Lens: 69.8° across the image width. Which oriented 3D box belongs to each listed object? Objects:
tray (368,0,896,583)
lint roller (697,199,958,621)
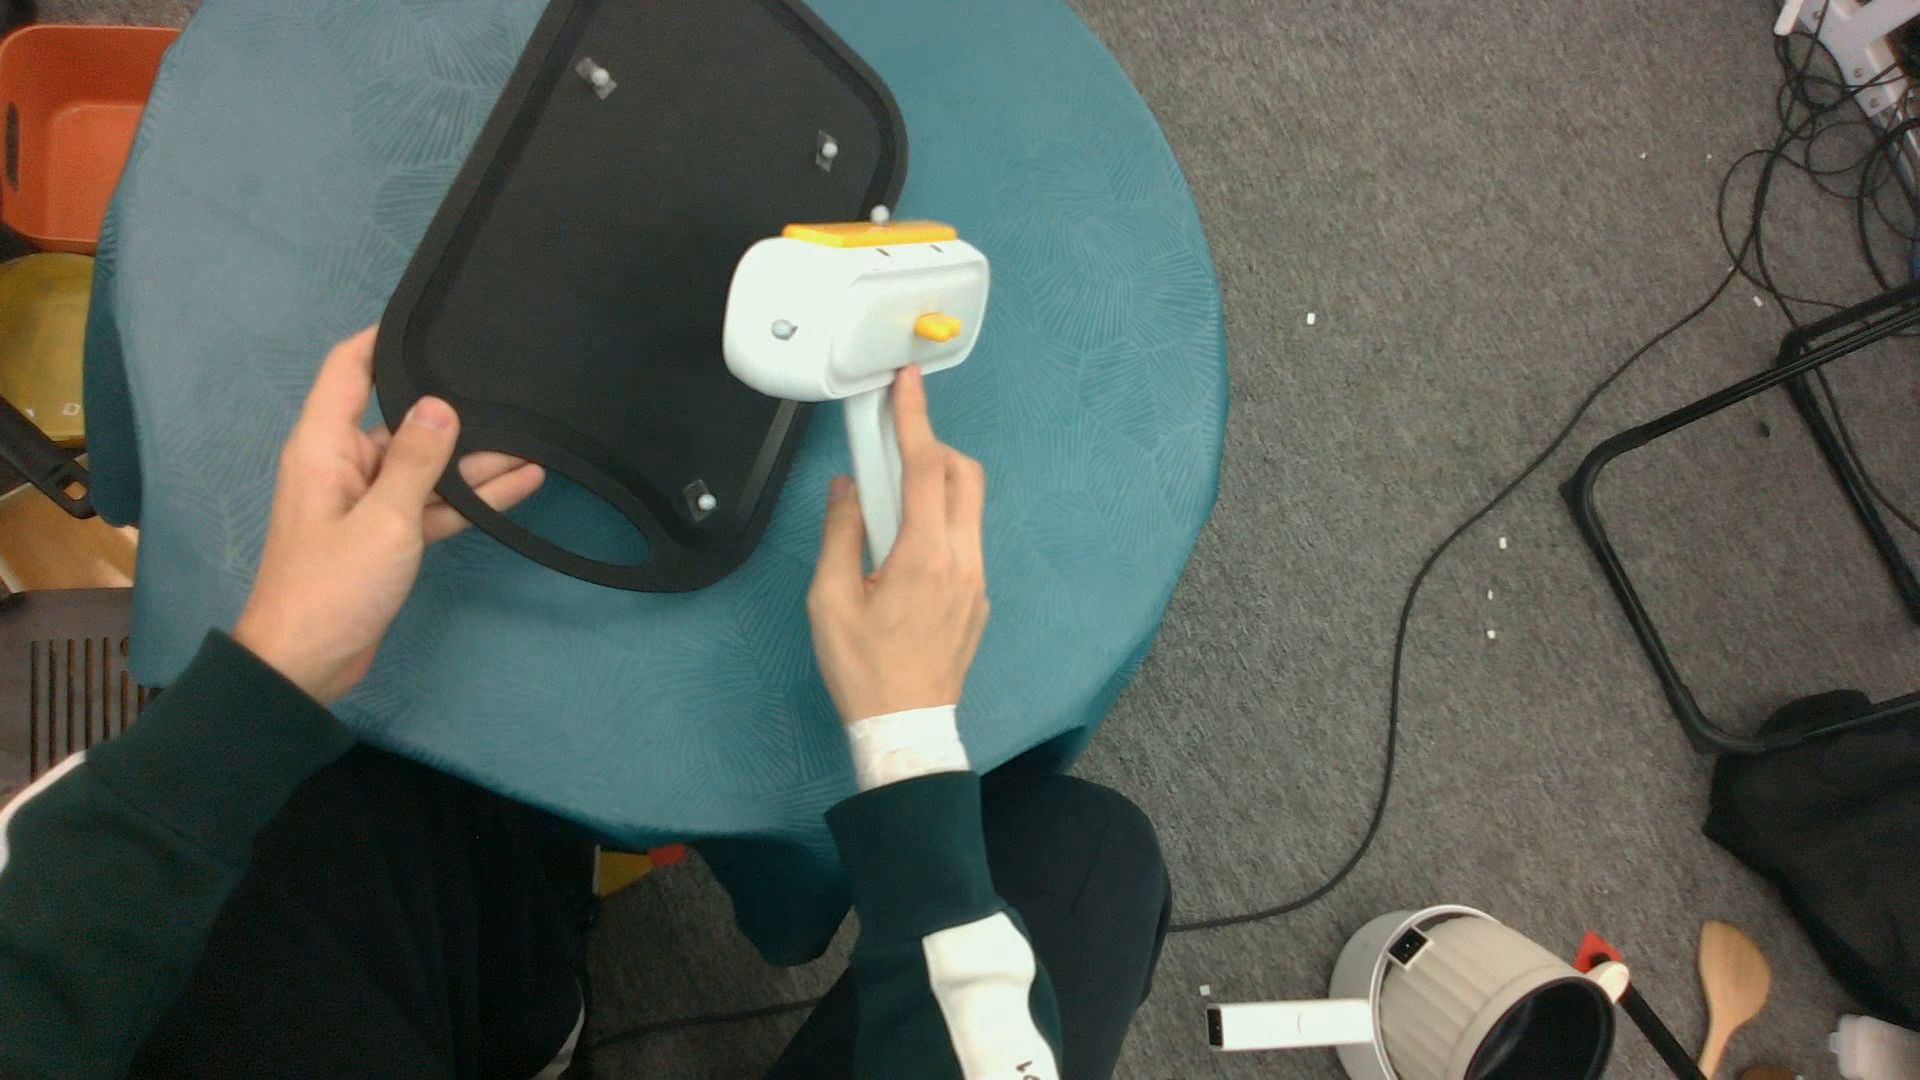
[{"bbox_3d":[-0.140,-0.142,0.657,0.211,0.010,0.326,33,68,-41],"label":"tray"},{"bbox_3d":[-0.049,-0.056,0.639,0.074,0.193,0.192,6,109,15],"label":"lint roller"}]
